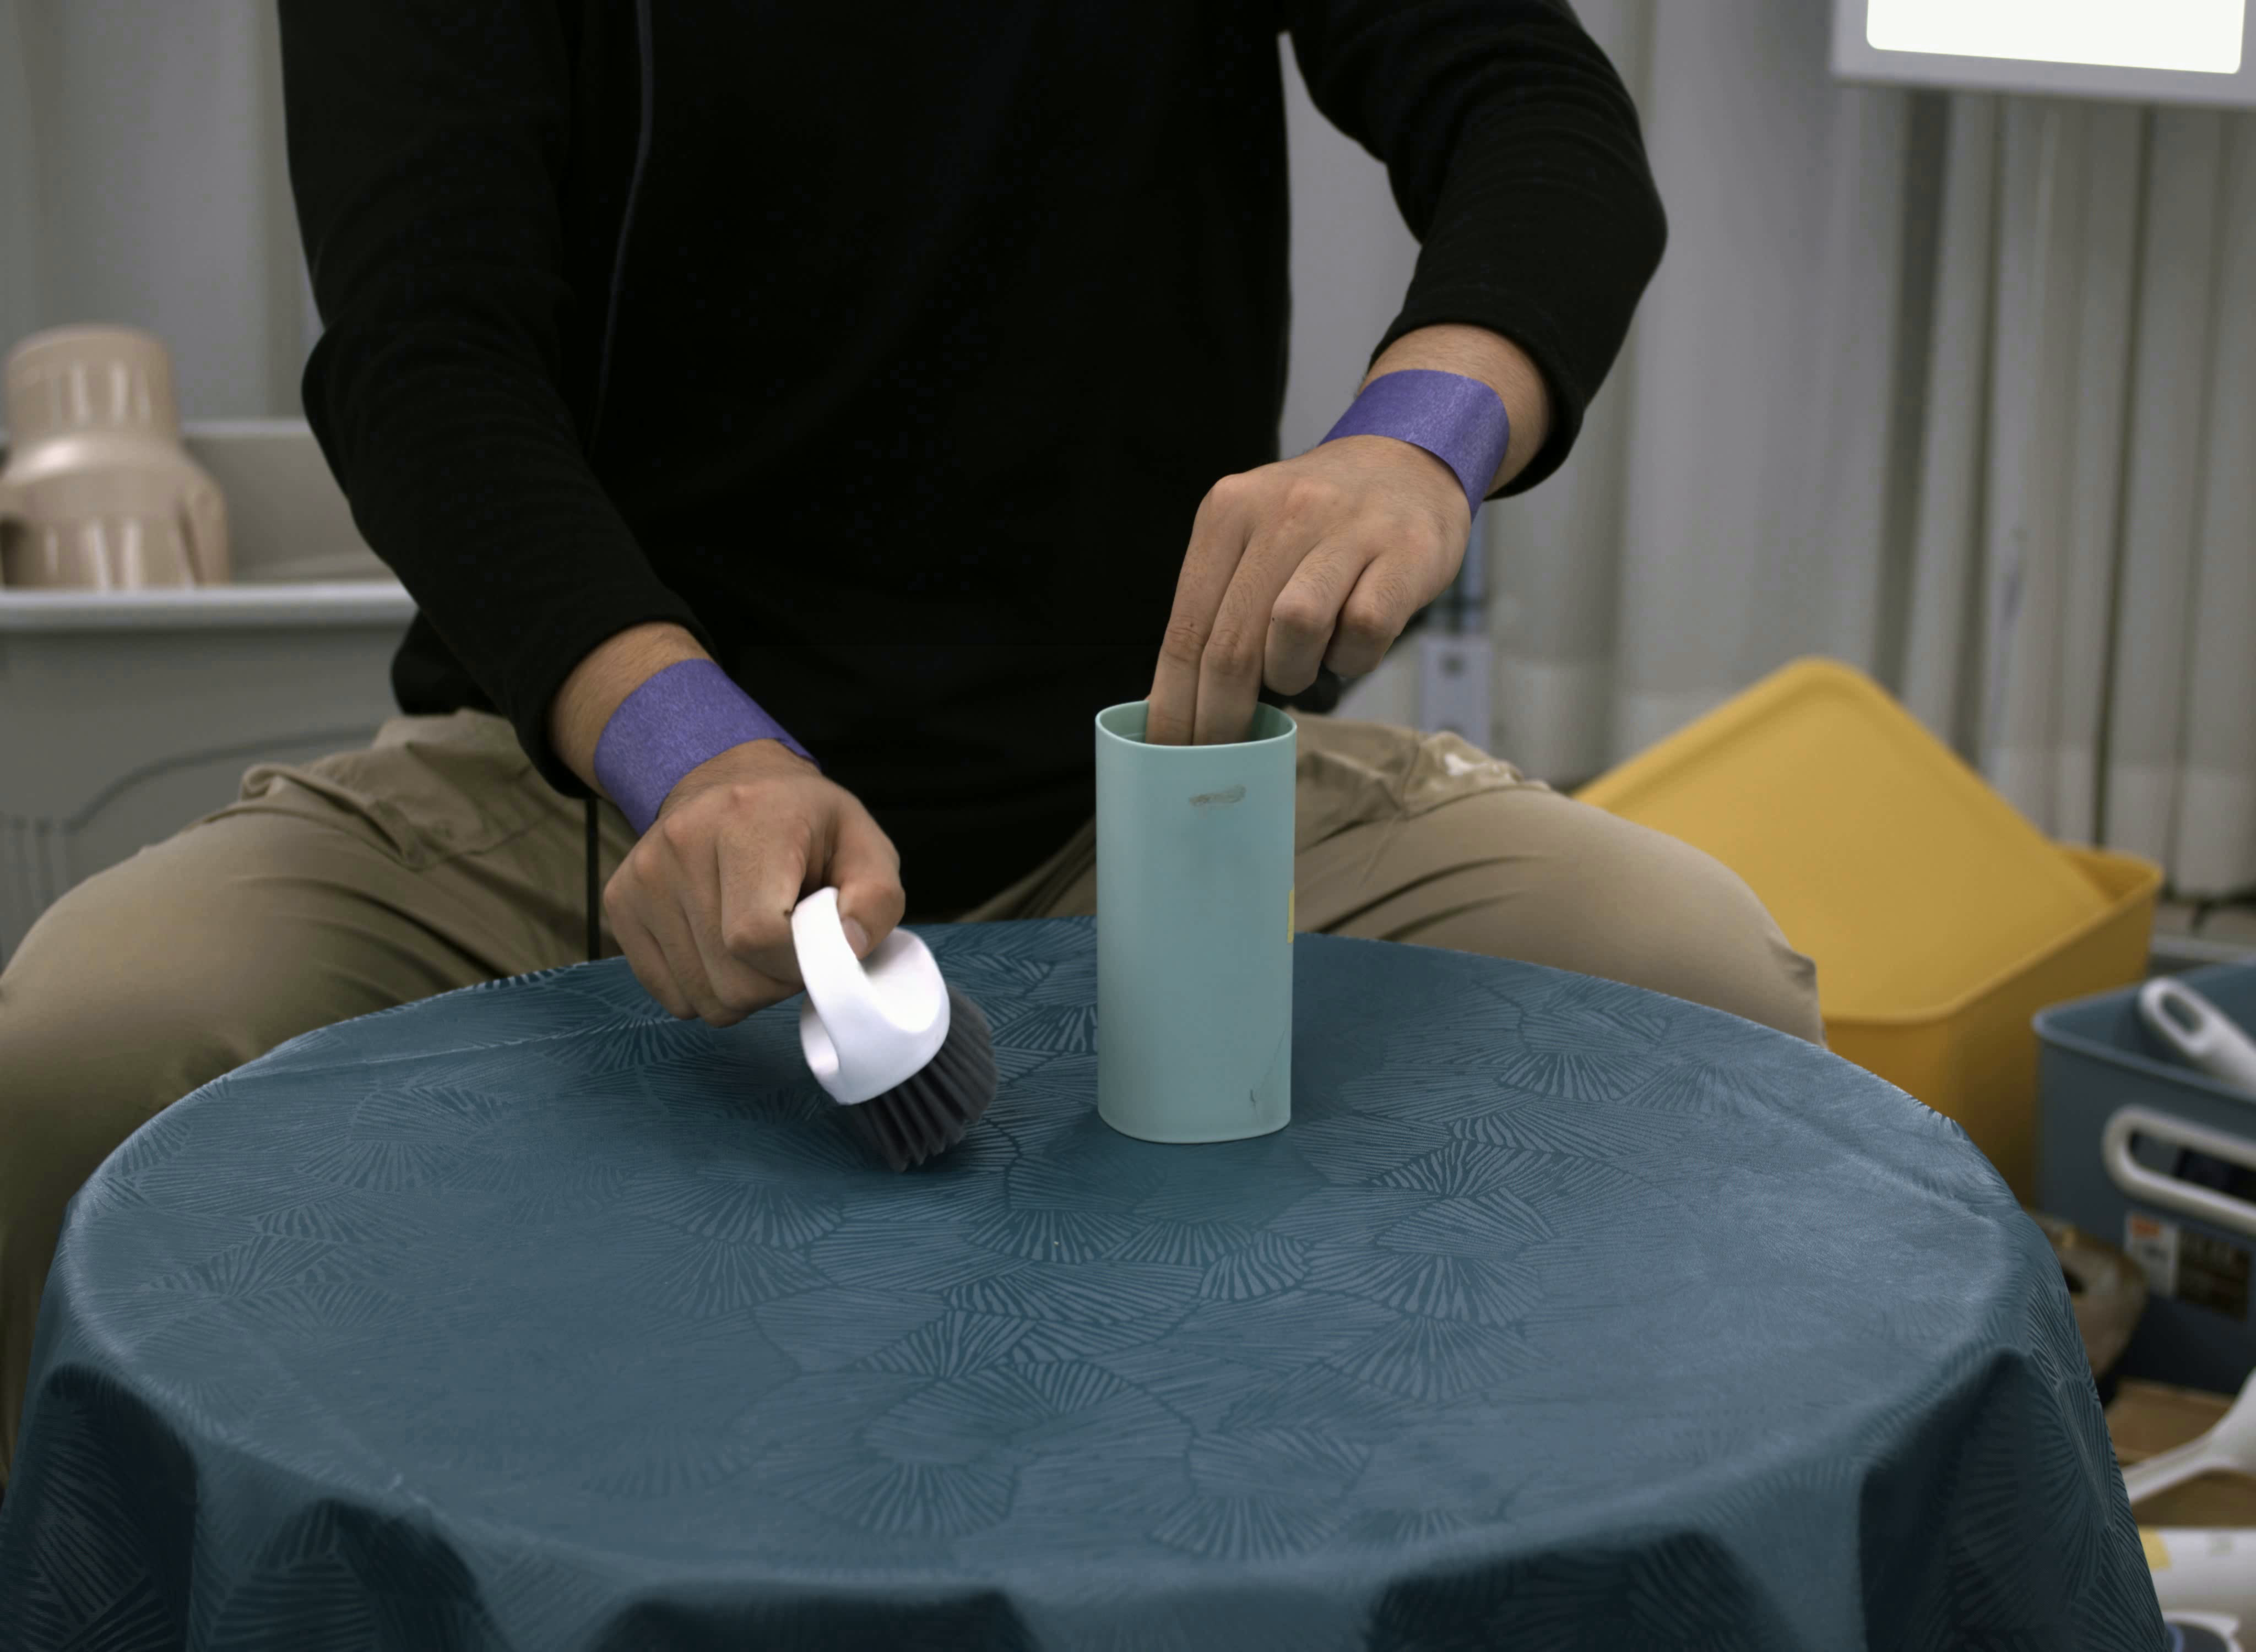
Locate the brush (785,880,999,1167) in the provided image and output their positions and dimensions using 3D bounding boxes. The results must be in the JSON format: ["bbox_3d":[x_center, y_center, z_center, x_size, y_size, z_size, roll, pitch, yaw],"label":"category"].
[{"bbox_3d":[-0.082,0.054,1.663,0.050,0.073,0.098,-33,22,8],"label":"brush"}]

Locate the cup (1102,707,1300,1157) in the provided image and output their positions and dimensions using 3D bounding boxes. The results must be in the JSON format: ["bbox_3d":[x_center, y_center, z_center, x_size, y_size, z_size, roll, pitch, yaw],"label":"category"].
[{"bbox_3d":[0.021,0.033,1.677,0.066,0.133,0.066,0,17,0],"label":"cup"}]
